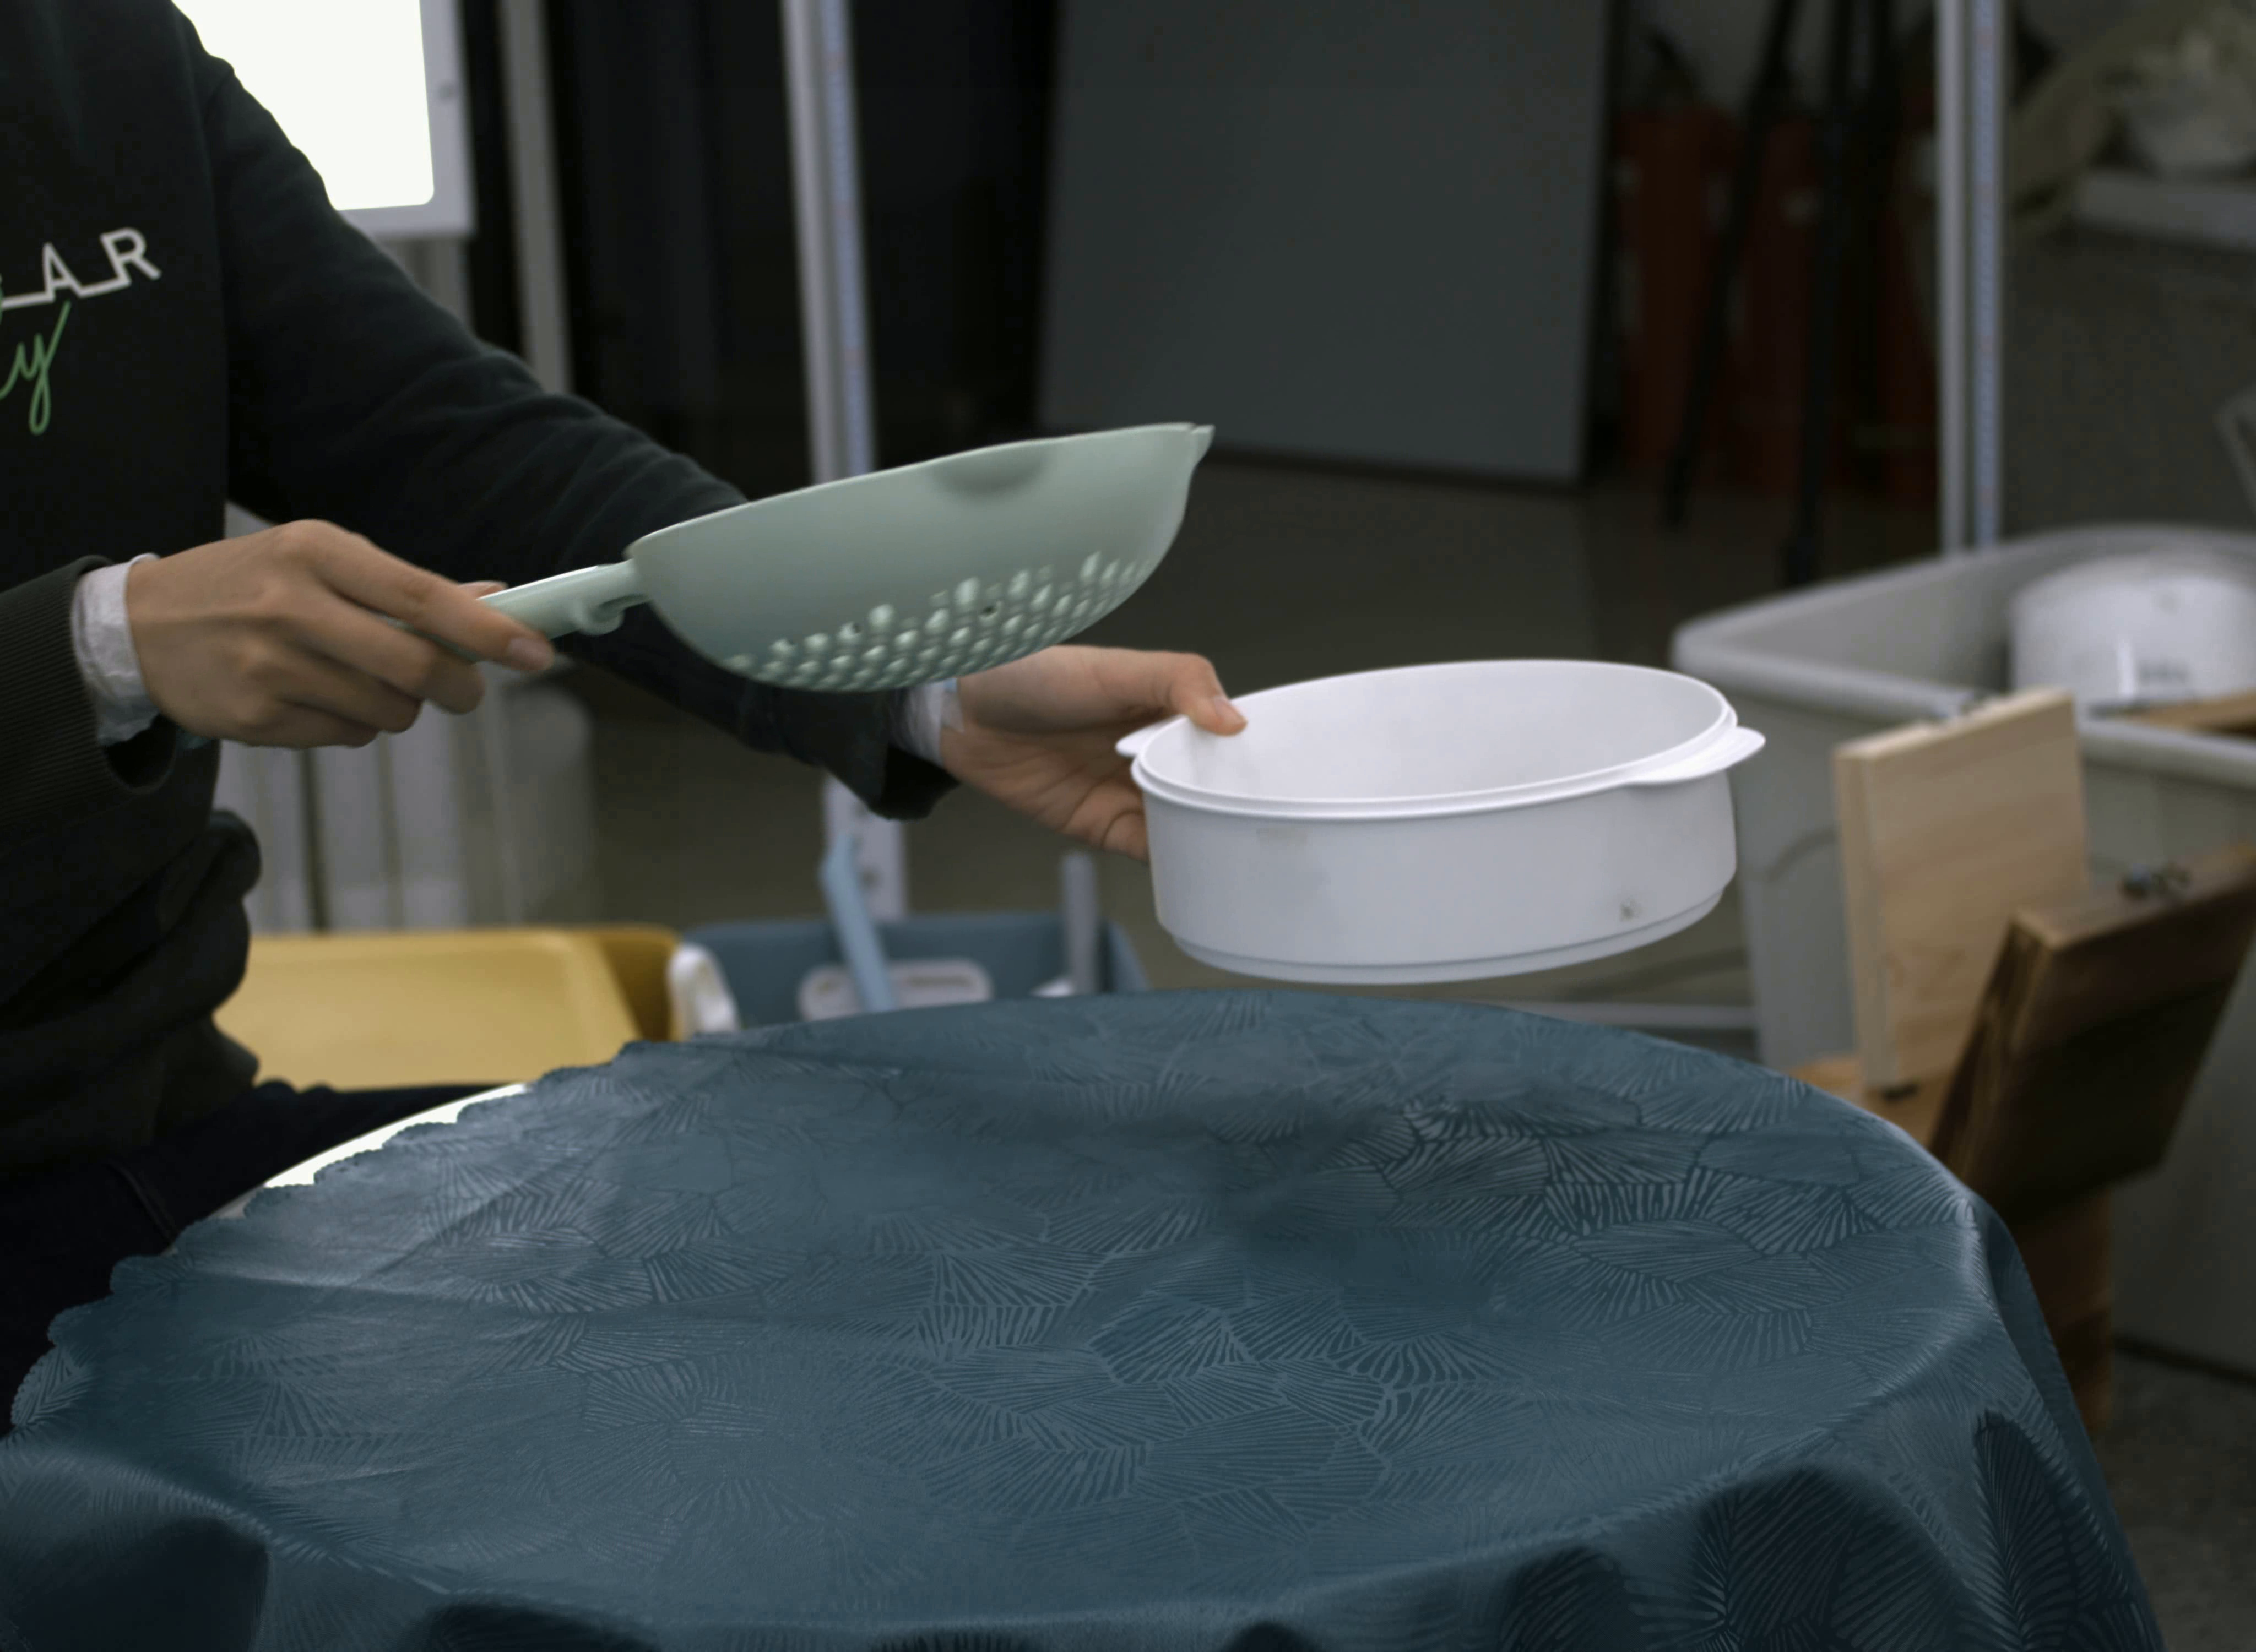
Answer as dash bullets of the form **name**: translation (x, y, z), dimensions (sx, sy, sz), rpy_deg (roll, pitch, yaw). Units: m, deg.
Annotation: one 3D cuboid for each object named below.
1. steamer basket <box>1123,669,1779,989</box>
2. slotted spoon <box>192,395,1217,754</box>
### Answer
- **steamer basket**: translation (0.106, 0.001, 1.771), dimensions (0.232, 0.070, 0.198), rpy_deg (2, 15, 34)
- **slotted spoon**: translation (-0.141, -0.072, 1.619), dimensions (0.360, 0.076, 0.166), rpy_deg (-4, 3, 29)
